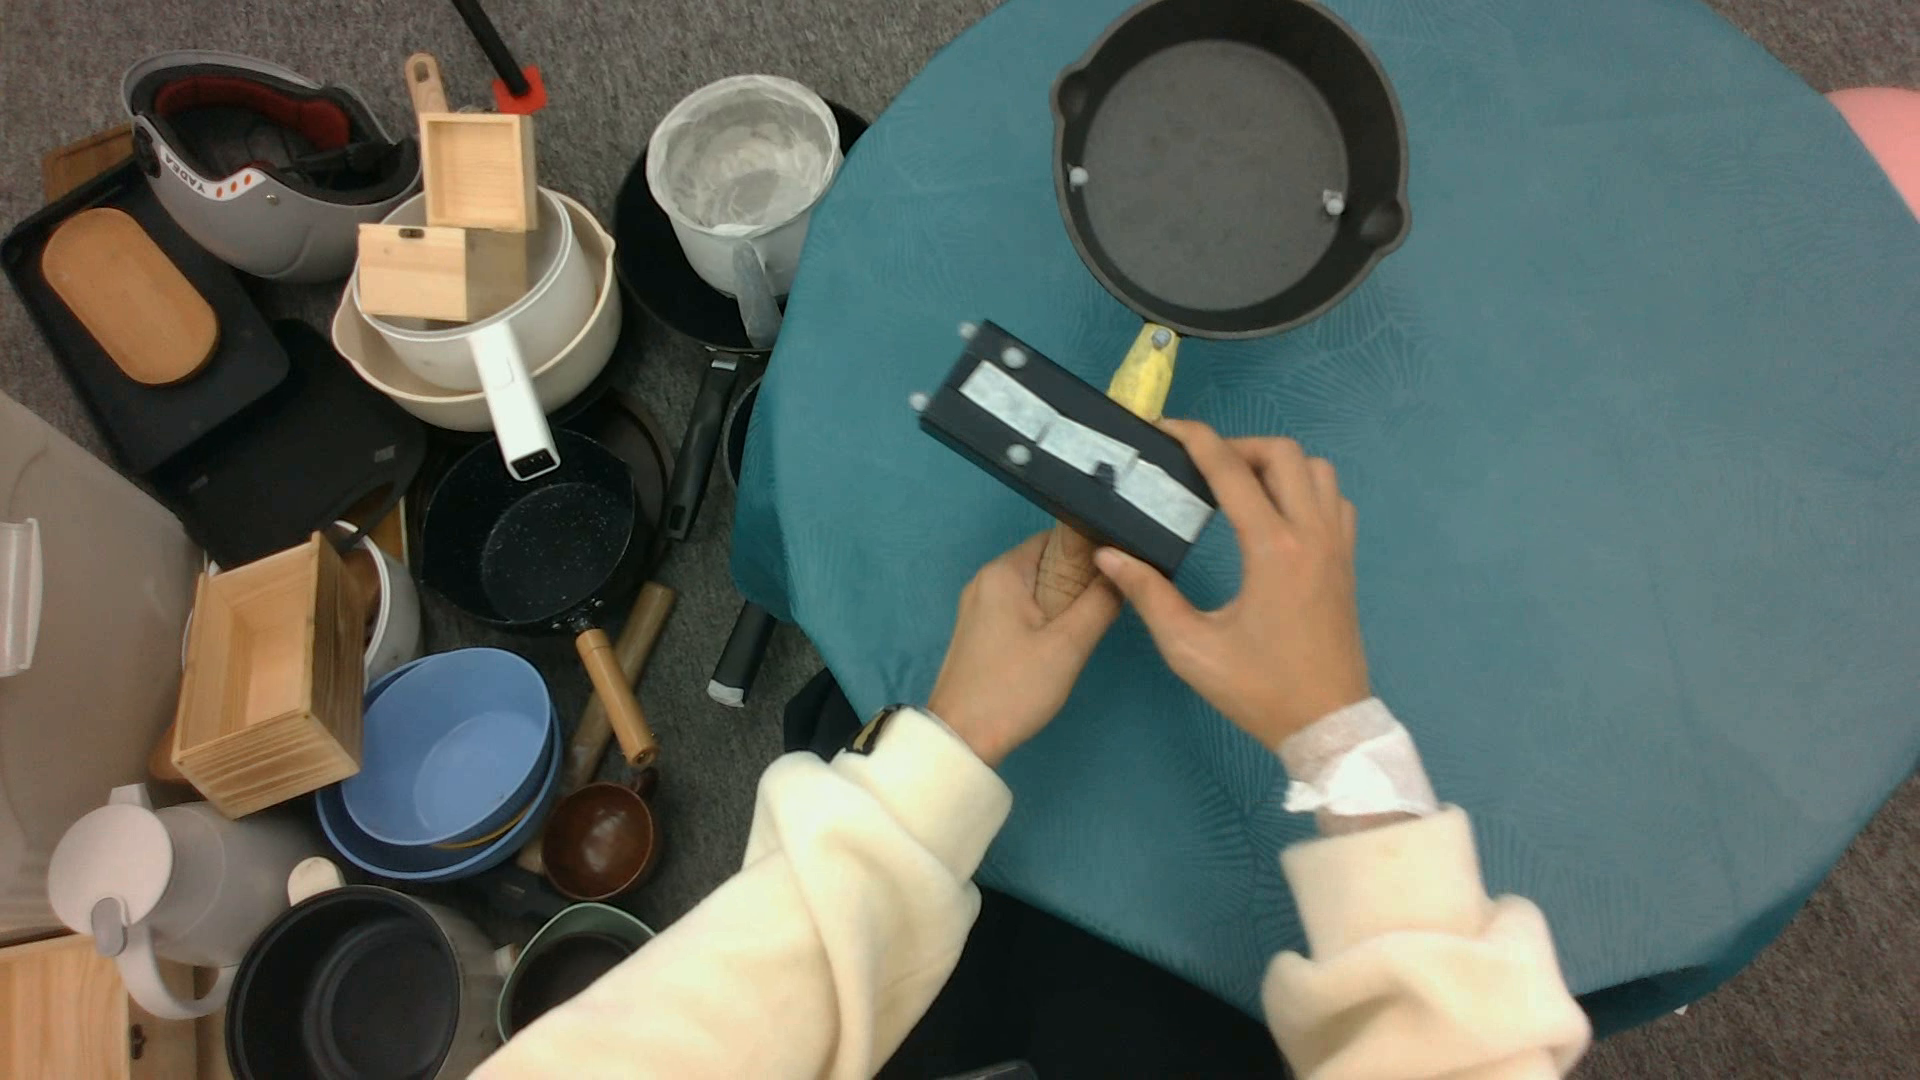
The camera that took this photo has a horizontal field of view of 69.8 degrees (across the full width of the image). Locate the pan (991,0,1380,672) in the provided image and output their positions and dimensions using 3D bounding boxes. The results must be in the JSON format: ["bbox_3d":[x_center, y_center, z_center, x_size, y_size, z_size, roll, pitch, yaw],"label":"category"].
[{"bbox_3d":[0.075,-0.096,0.607,0.169,0.049,0.324,23,86,-6],"label":"pan"}]

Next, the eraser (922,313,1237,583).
[{"bbox_3d":[0.048,-0.037,0.572,0.125,0.030,0.053,35,83,2],"label":"eraser"}]
